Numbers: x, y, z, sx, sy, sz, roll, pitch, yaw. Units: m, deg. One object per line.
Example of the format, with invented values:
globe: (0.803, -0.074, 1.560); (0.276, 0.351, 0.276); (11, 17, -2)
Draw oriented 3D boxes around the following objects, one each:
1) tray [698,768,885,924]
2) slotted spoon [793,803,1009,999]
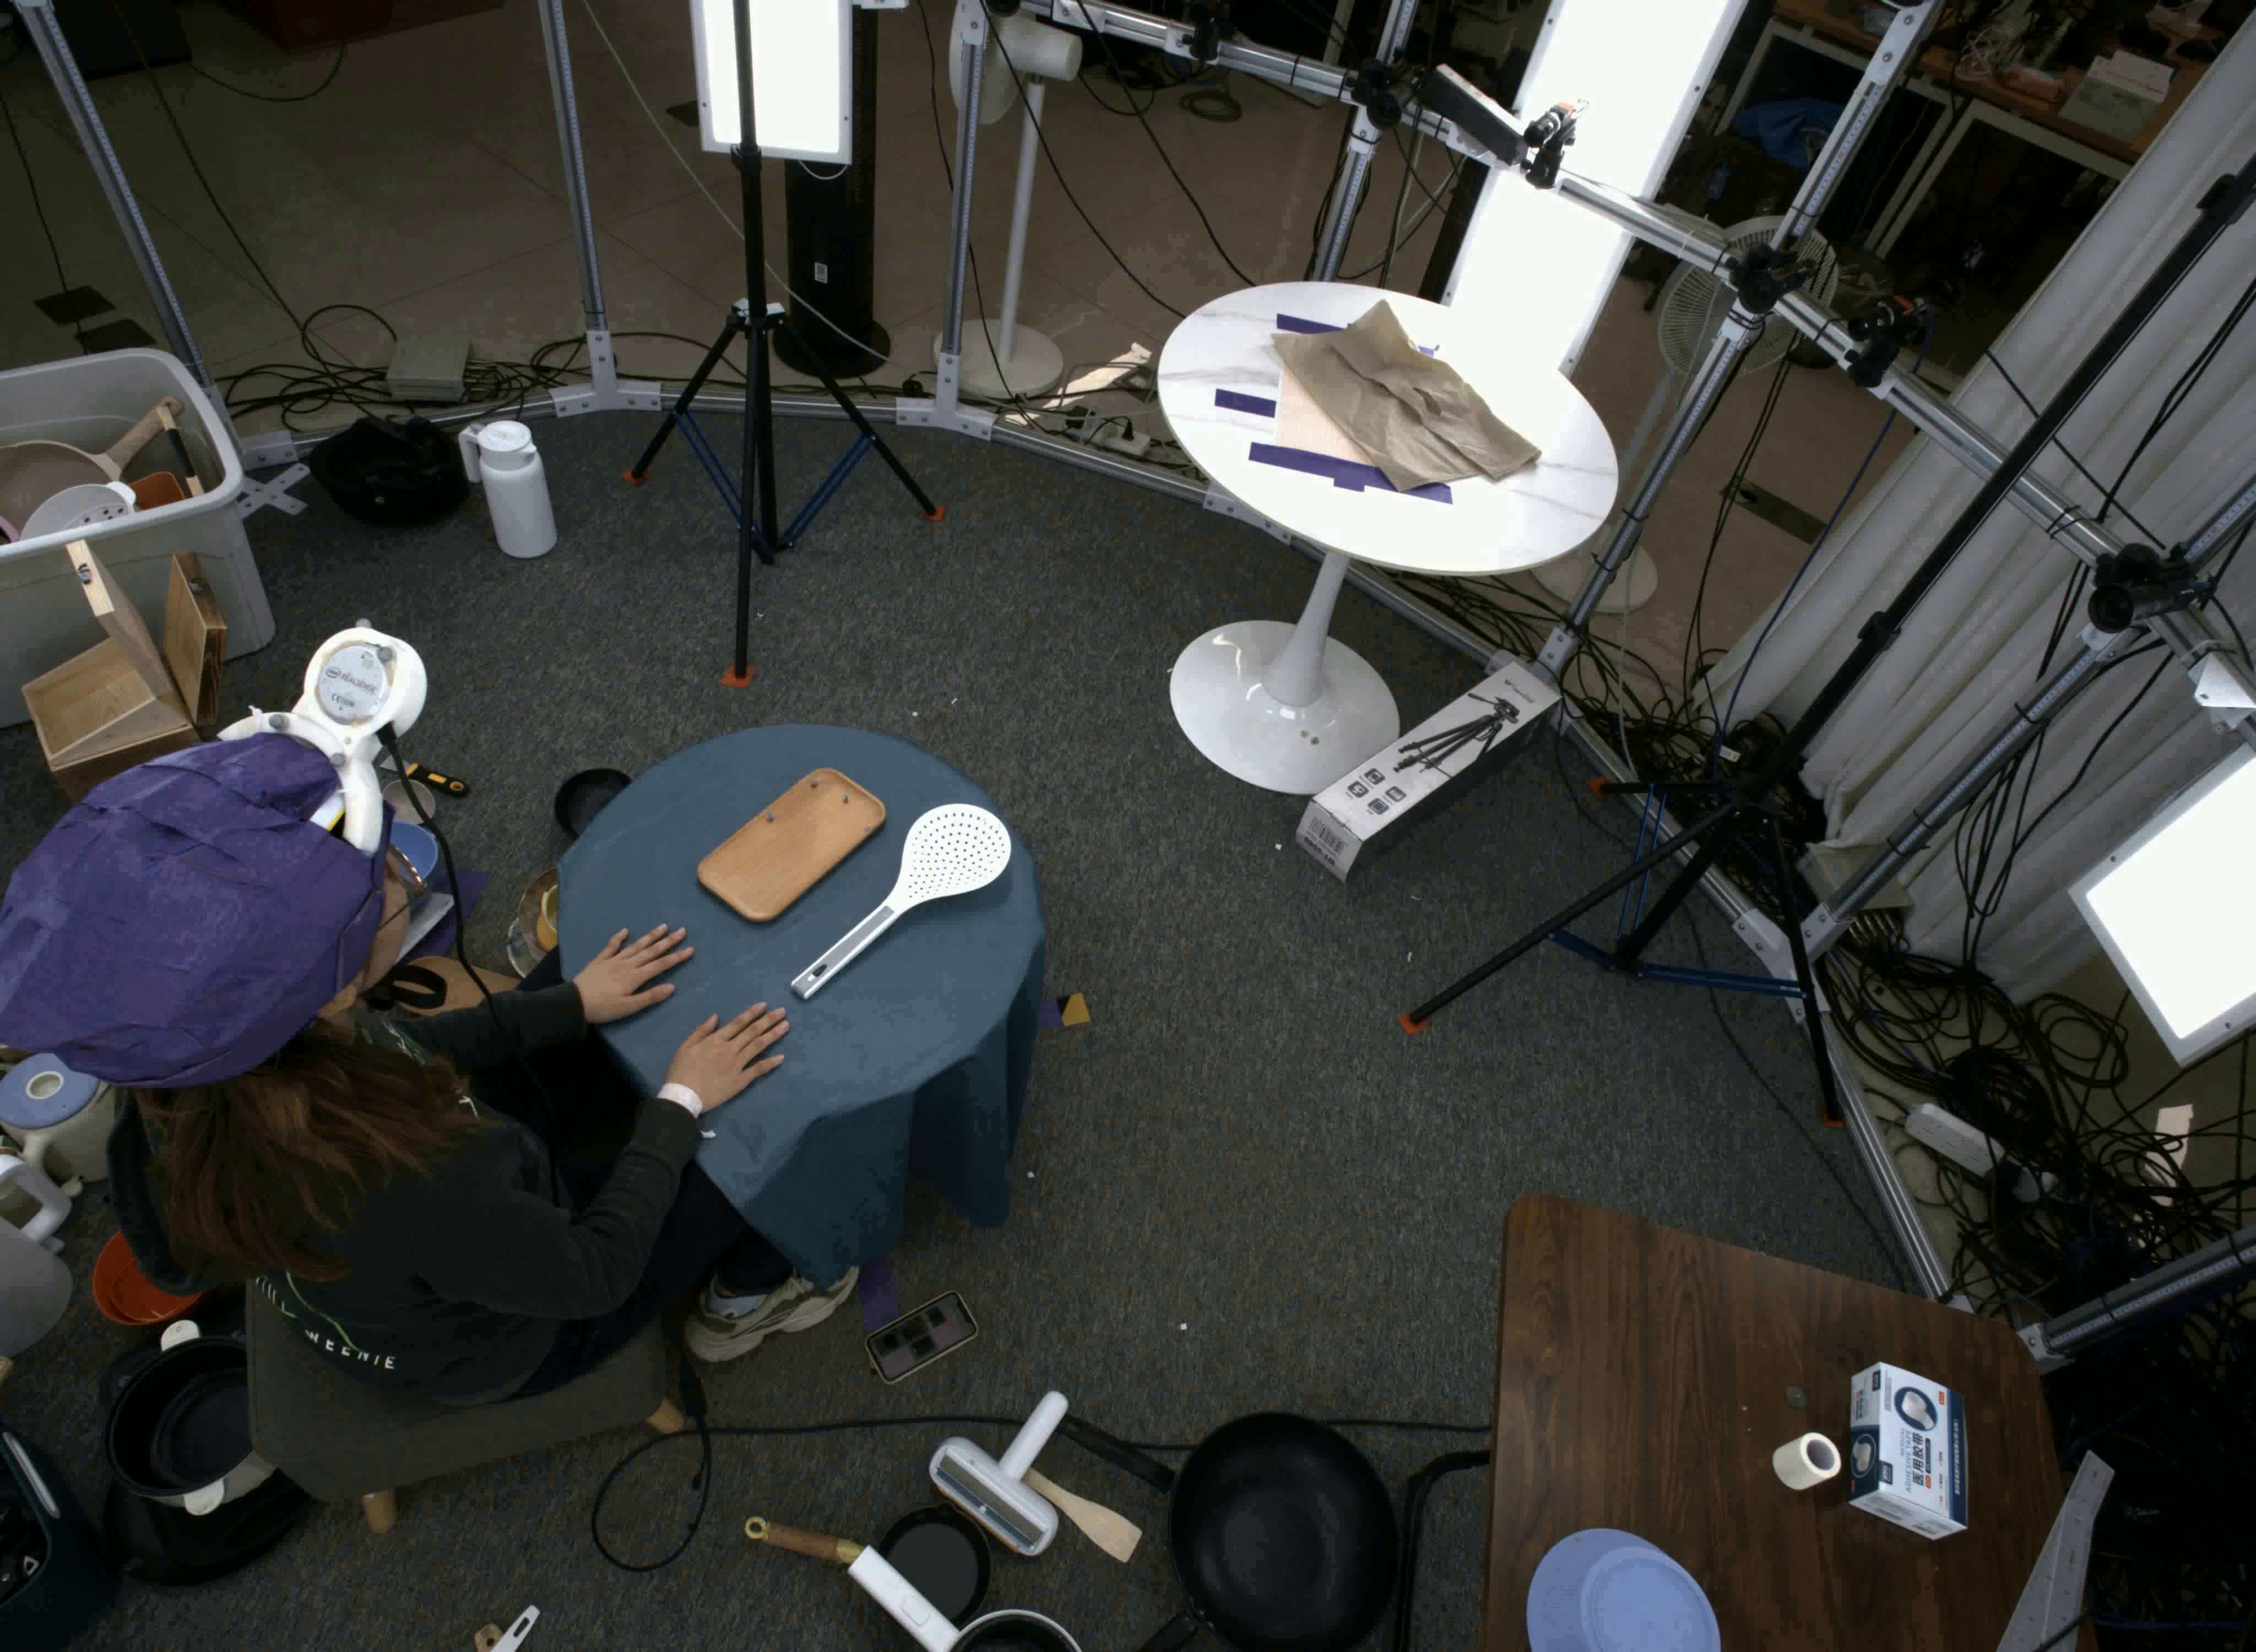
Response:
tray: (-0.438, 0.022, 1.698); (0.128, 0.023, 0.250); (34, 54, 14)
slotted spoon: (-0.291, 0.095, 1.663); (0.133, 0.047, 0.350); (36, 54, 16)
